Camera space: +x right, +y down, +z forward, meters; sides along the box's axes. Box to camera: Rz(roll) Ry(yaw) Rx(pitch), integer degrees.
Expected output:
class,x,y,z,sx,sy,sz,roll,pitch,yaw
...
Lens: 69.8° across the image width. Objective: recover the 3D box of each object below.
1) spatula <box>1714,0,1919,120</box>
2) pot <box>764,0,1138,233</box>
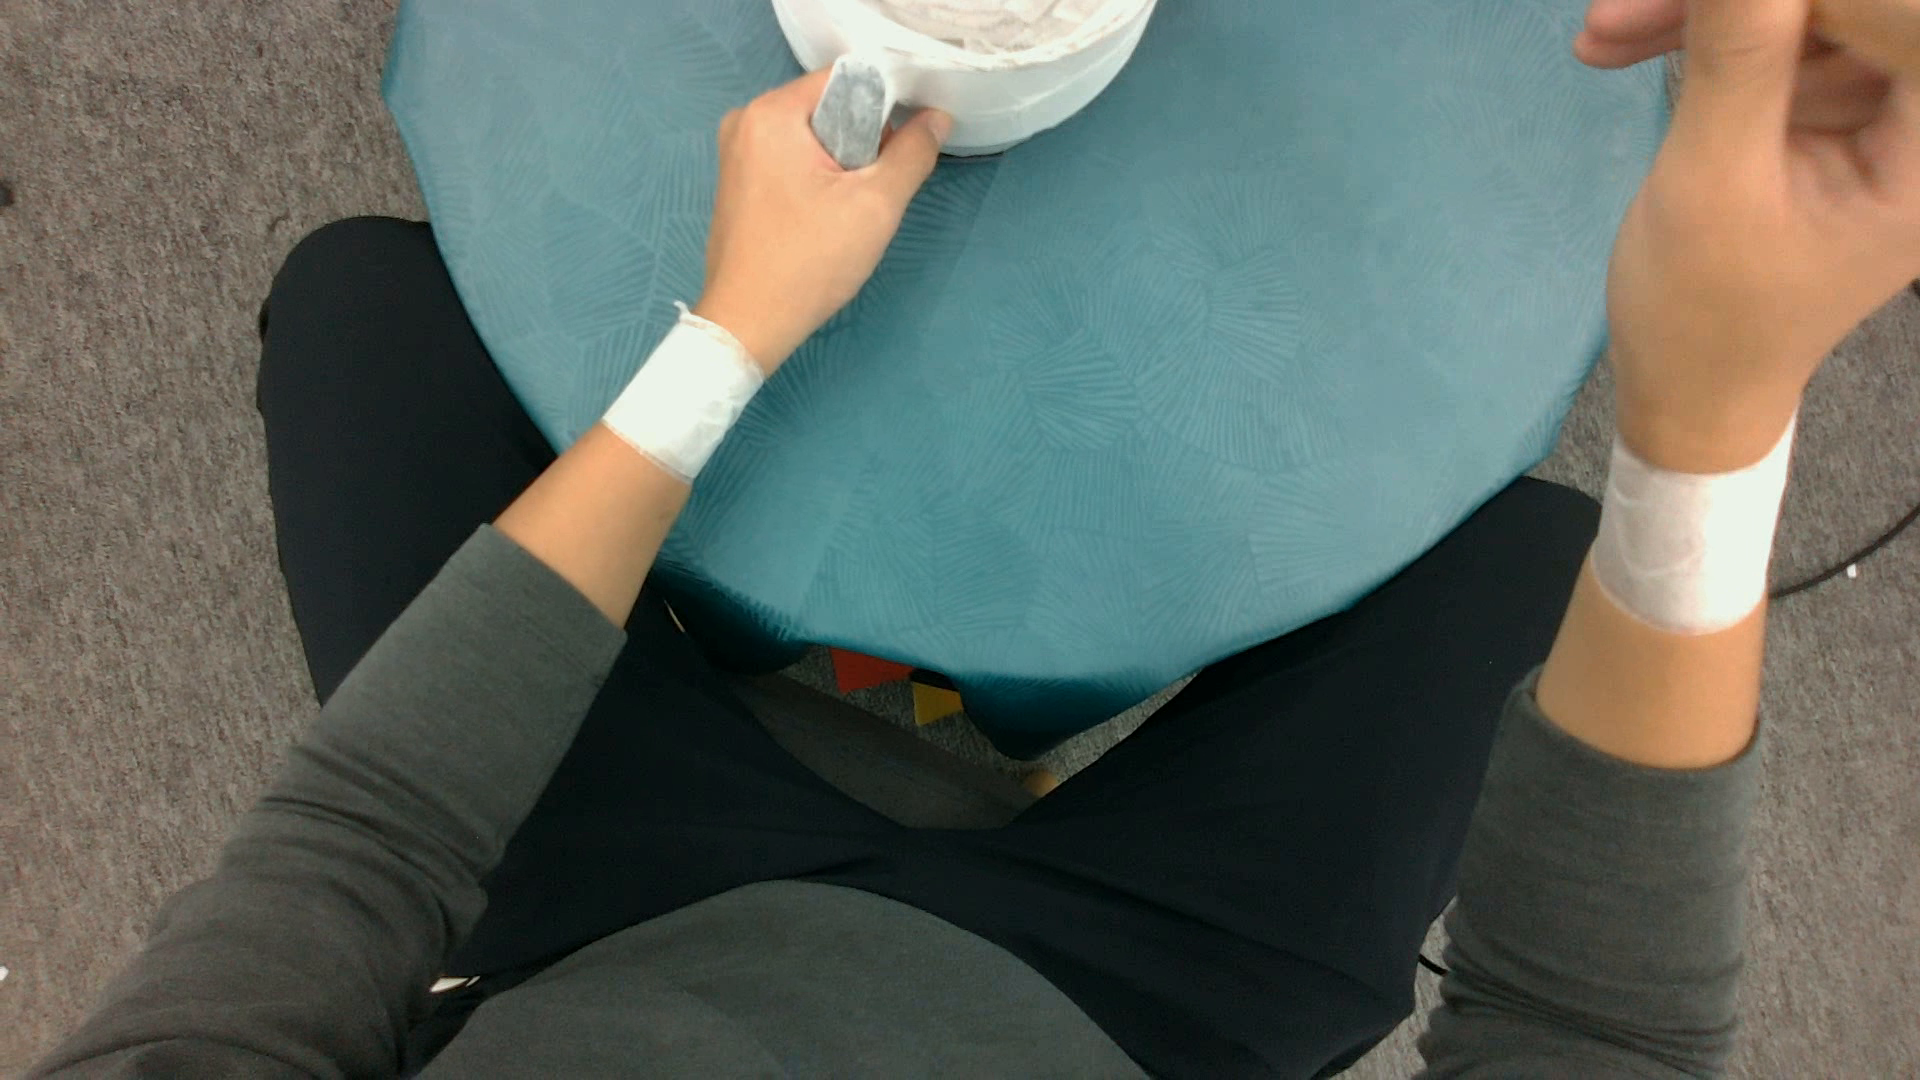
class,x,y,z,sx,sy,sz,roll,pitch,yaw
spatula,0.157,-0.155,0.340,0.018,0.392,0.095,-36,129,13
pot,-0.013,-0.244,0.580,0.179,0.136,0.234,25,88,-4
